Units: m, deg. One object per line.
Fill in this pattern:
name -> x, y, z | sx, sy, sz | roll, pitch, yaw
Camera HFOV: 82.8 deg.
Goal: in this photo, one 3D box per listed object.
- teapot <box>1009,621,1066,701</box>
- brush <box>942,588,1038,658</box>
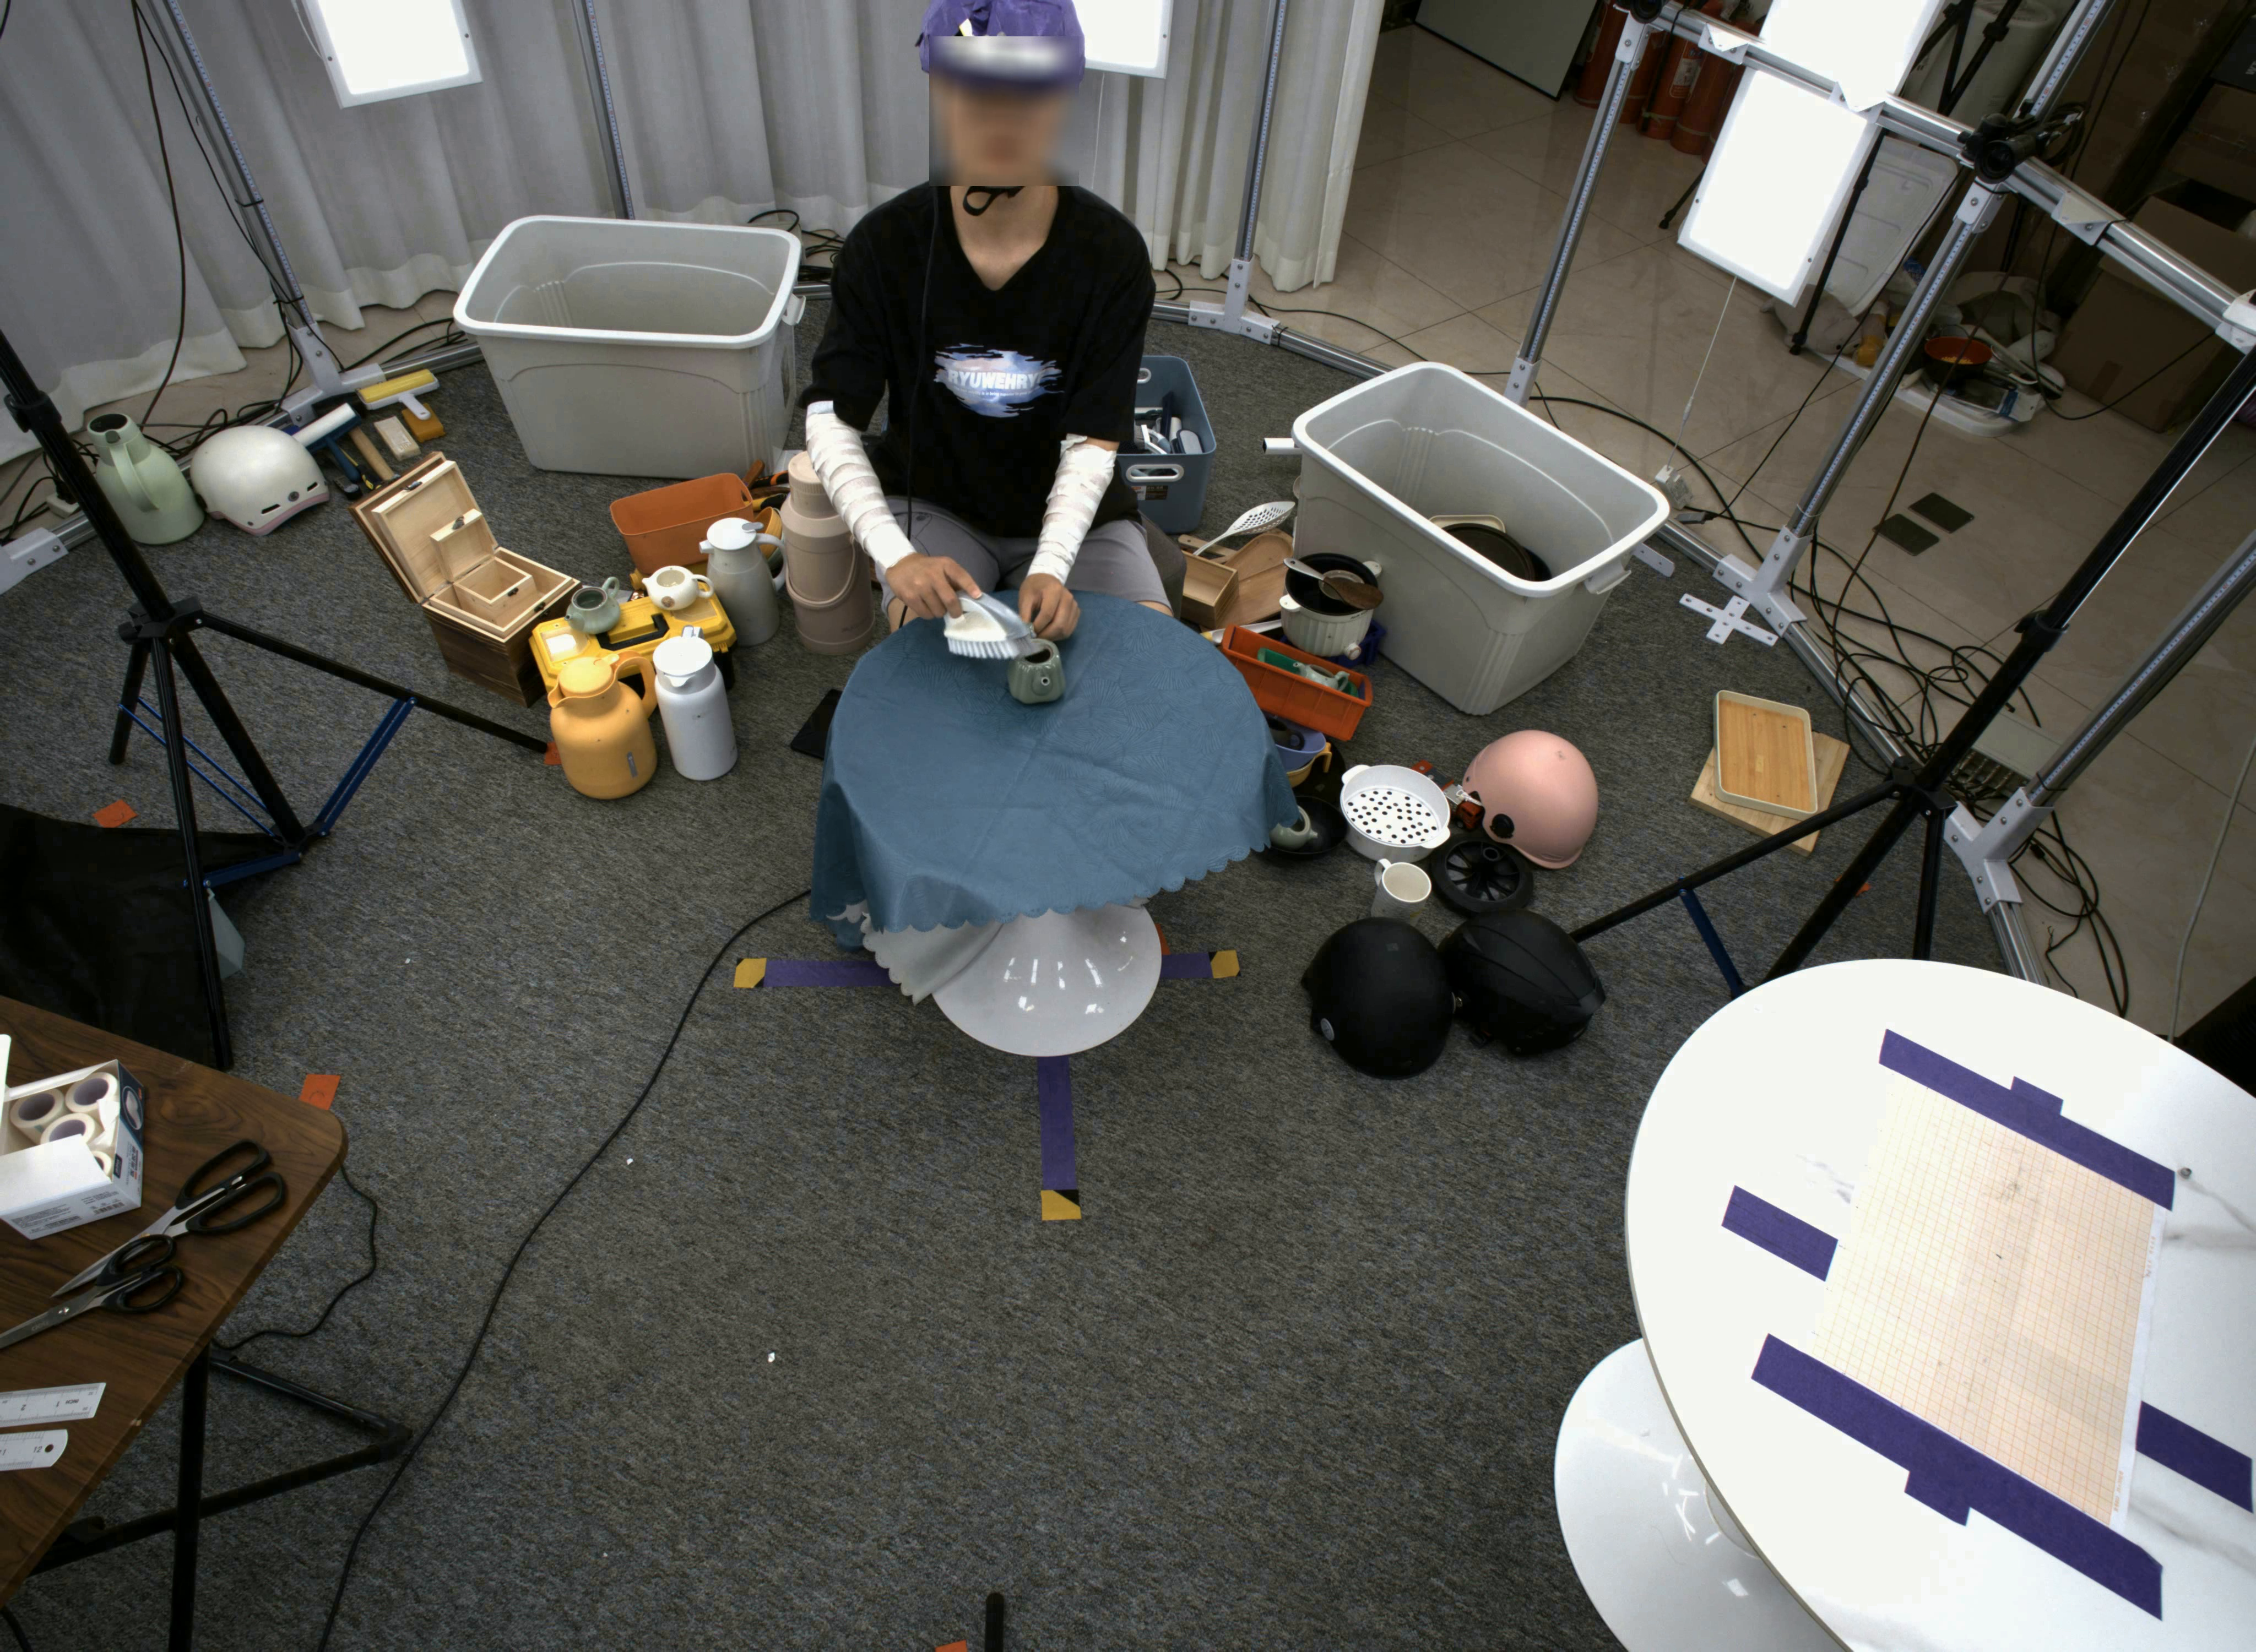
teapot -> -0.127, -0.224, 1.812 | 0.079, 0.073, 0.136 | -4, 49, -10
brush -> -0.196, -0.285, 1.786 | 0.062, 0.092, 0.177 | -44, 39, -23
